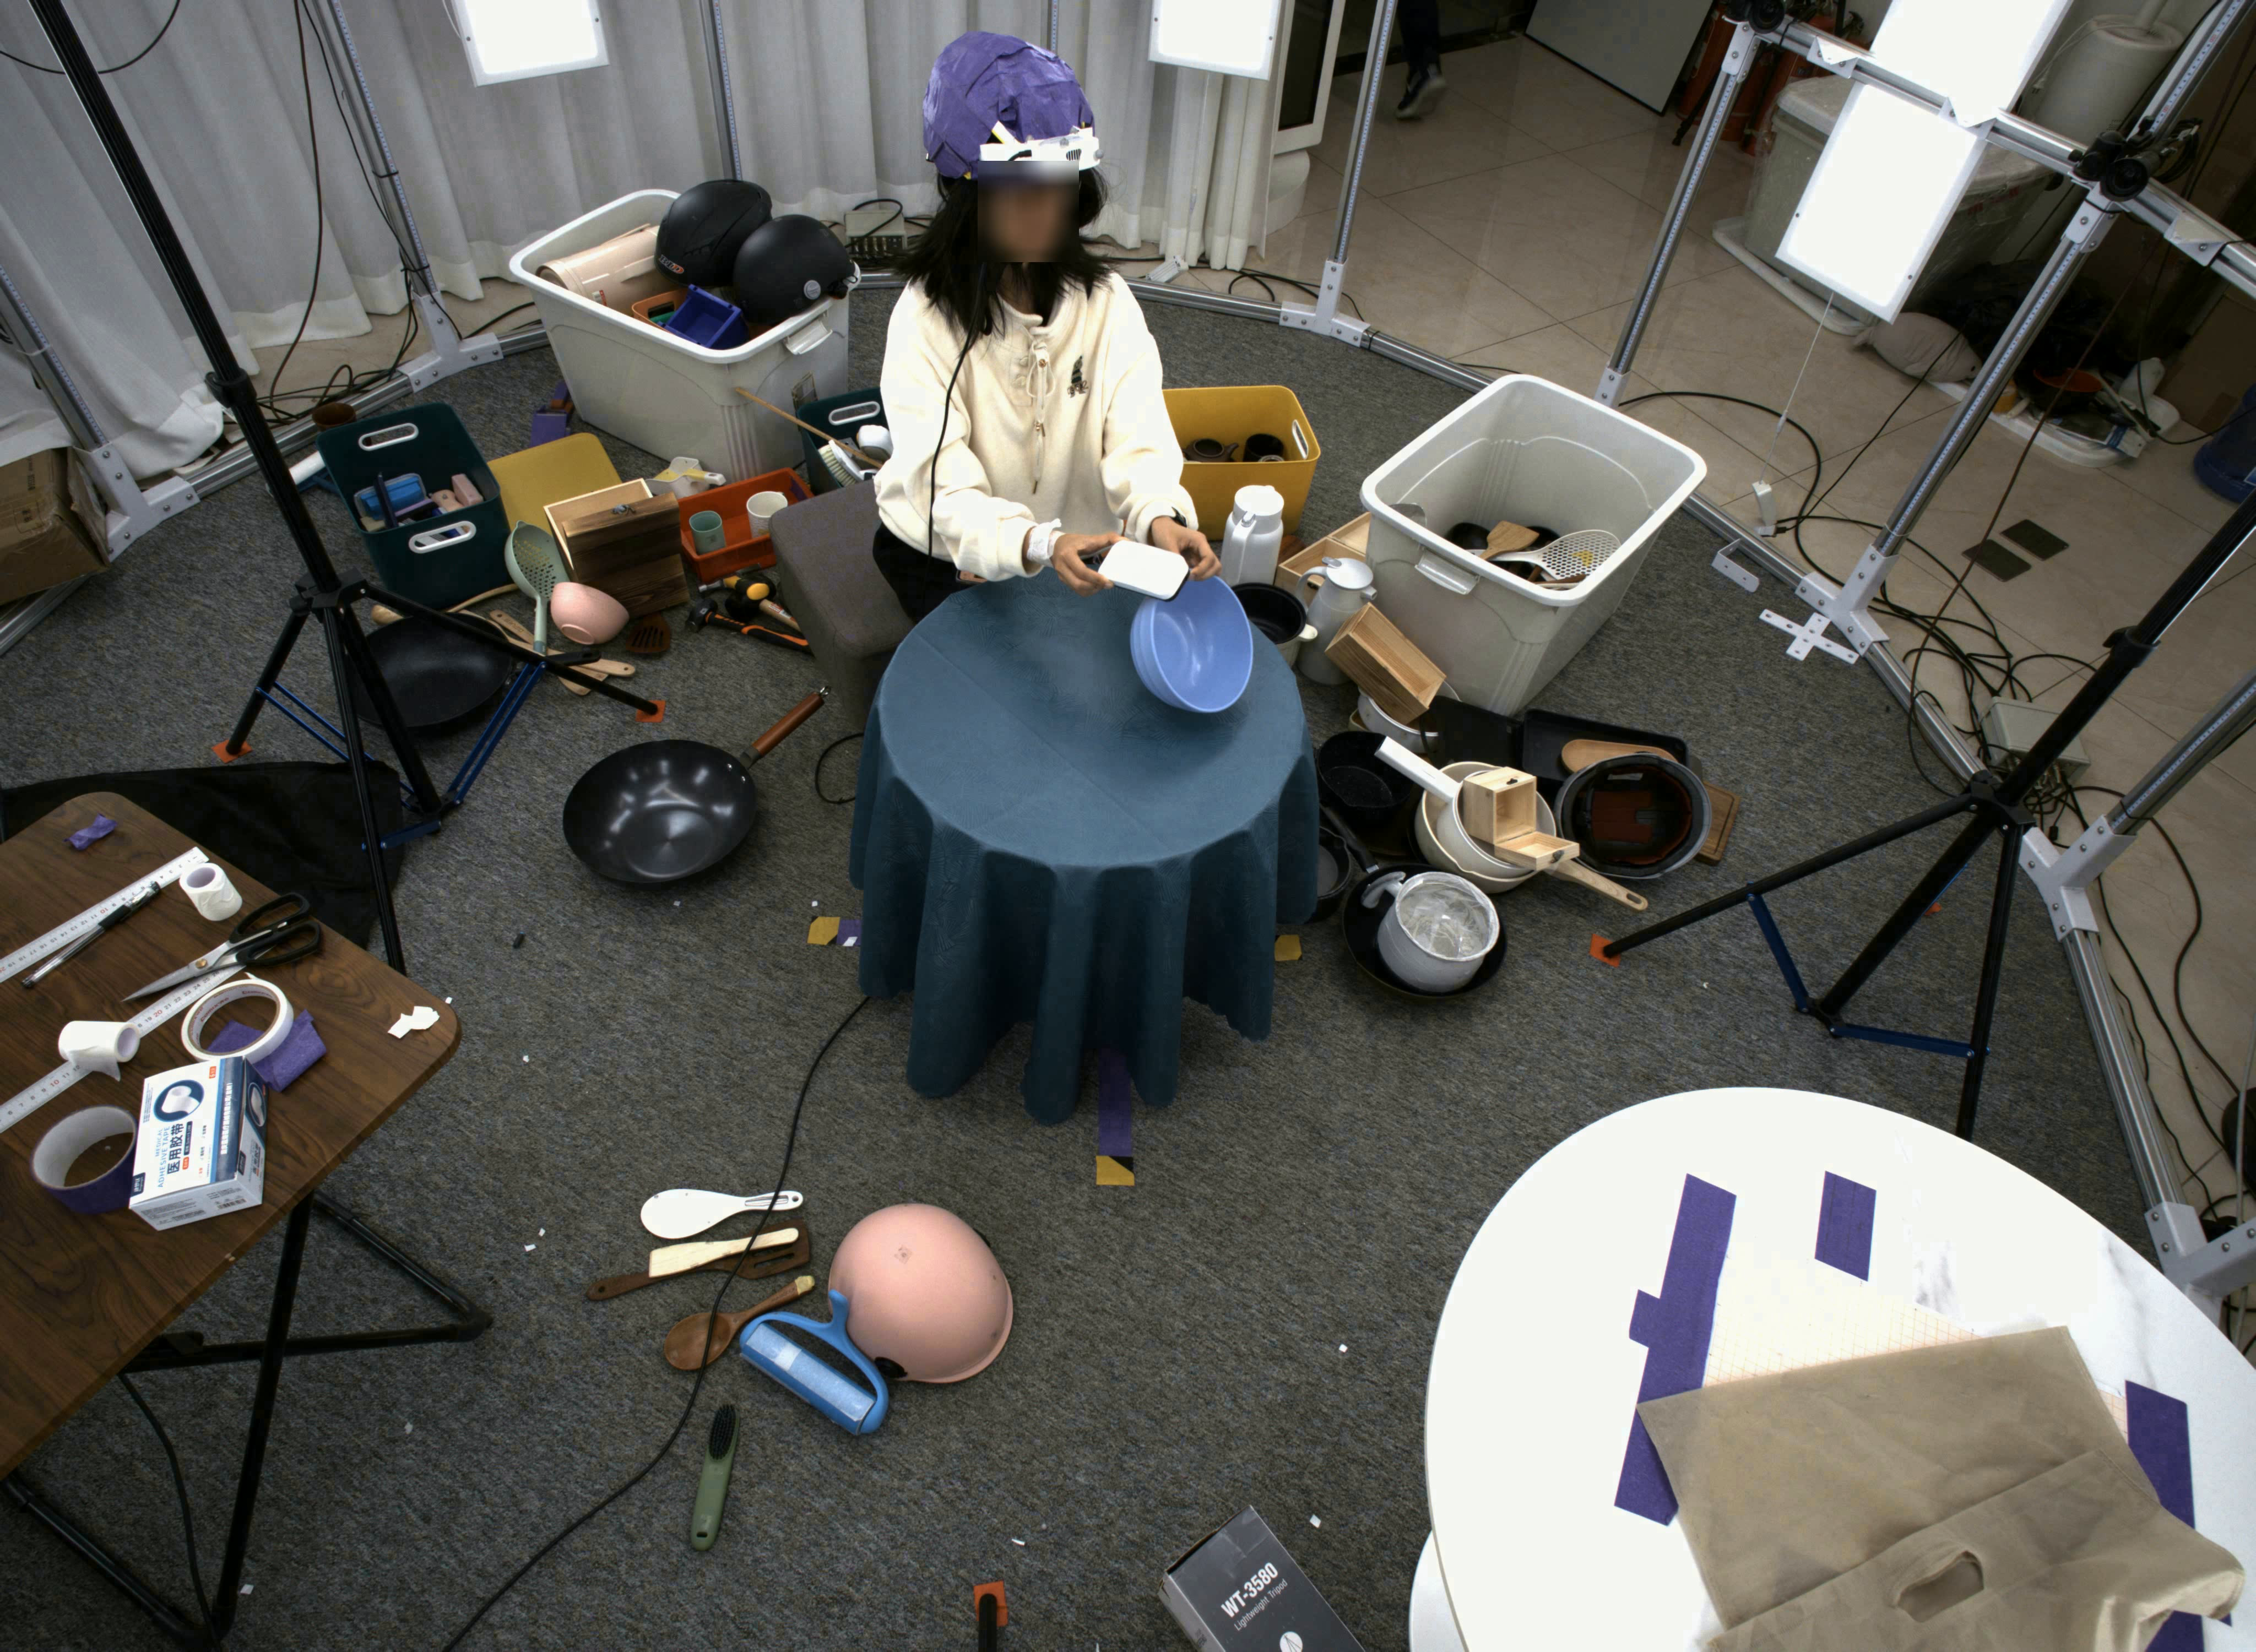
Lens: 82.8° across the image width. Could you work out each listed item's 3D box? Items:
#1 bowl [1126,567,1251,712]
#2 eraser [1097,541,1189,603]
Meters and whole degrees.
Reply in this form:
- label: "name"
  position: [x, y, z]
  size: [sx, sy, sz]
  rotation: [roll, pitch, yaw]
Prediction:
- label: "bowl"
  position: [0.069, -0.253, 1.778]
  size: [0.198, 0.194, 0.096]
  rotation: [-39, 22, -32]
- label: "eraser"
  position: [0.020, -0.340, 1.707]
  size: [0.133, 0.034, 0.064]
  rotation: [25, 79, 38]
